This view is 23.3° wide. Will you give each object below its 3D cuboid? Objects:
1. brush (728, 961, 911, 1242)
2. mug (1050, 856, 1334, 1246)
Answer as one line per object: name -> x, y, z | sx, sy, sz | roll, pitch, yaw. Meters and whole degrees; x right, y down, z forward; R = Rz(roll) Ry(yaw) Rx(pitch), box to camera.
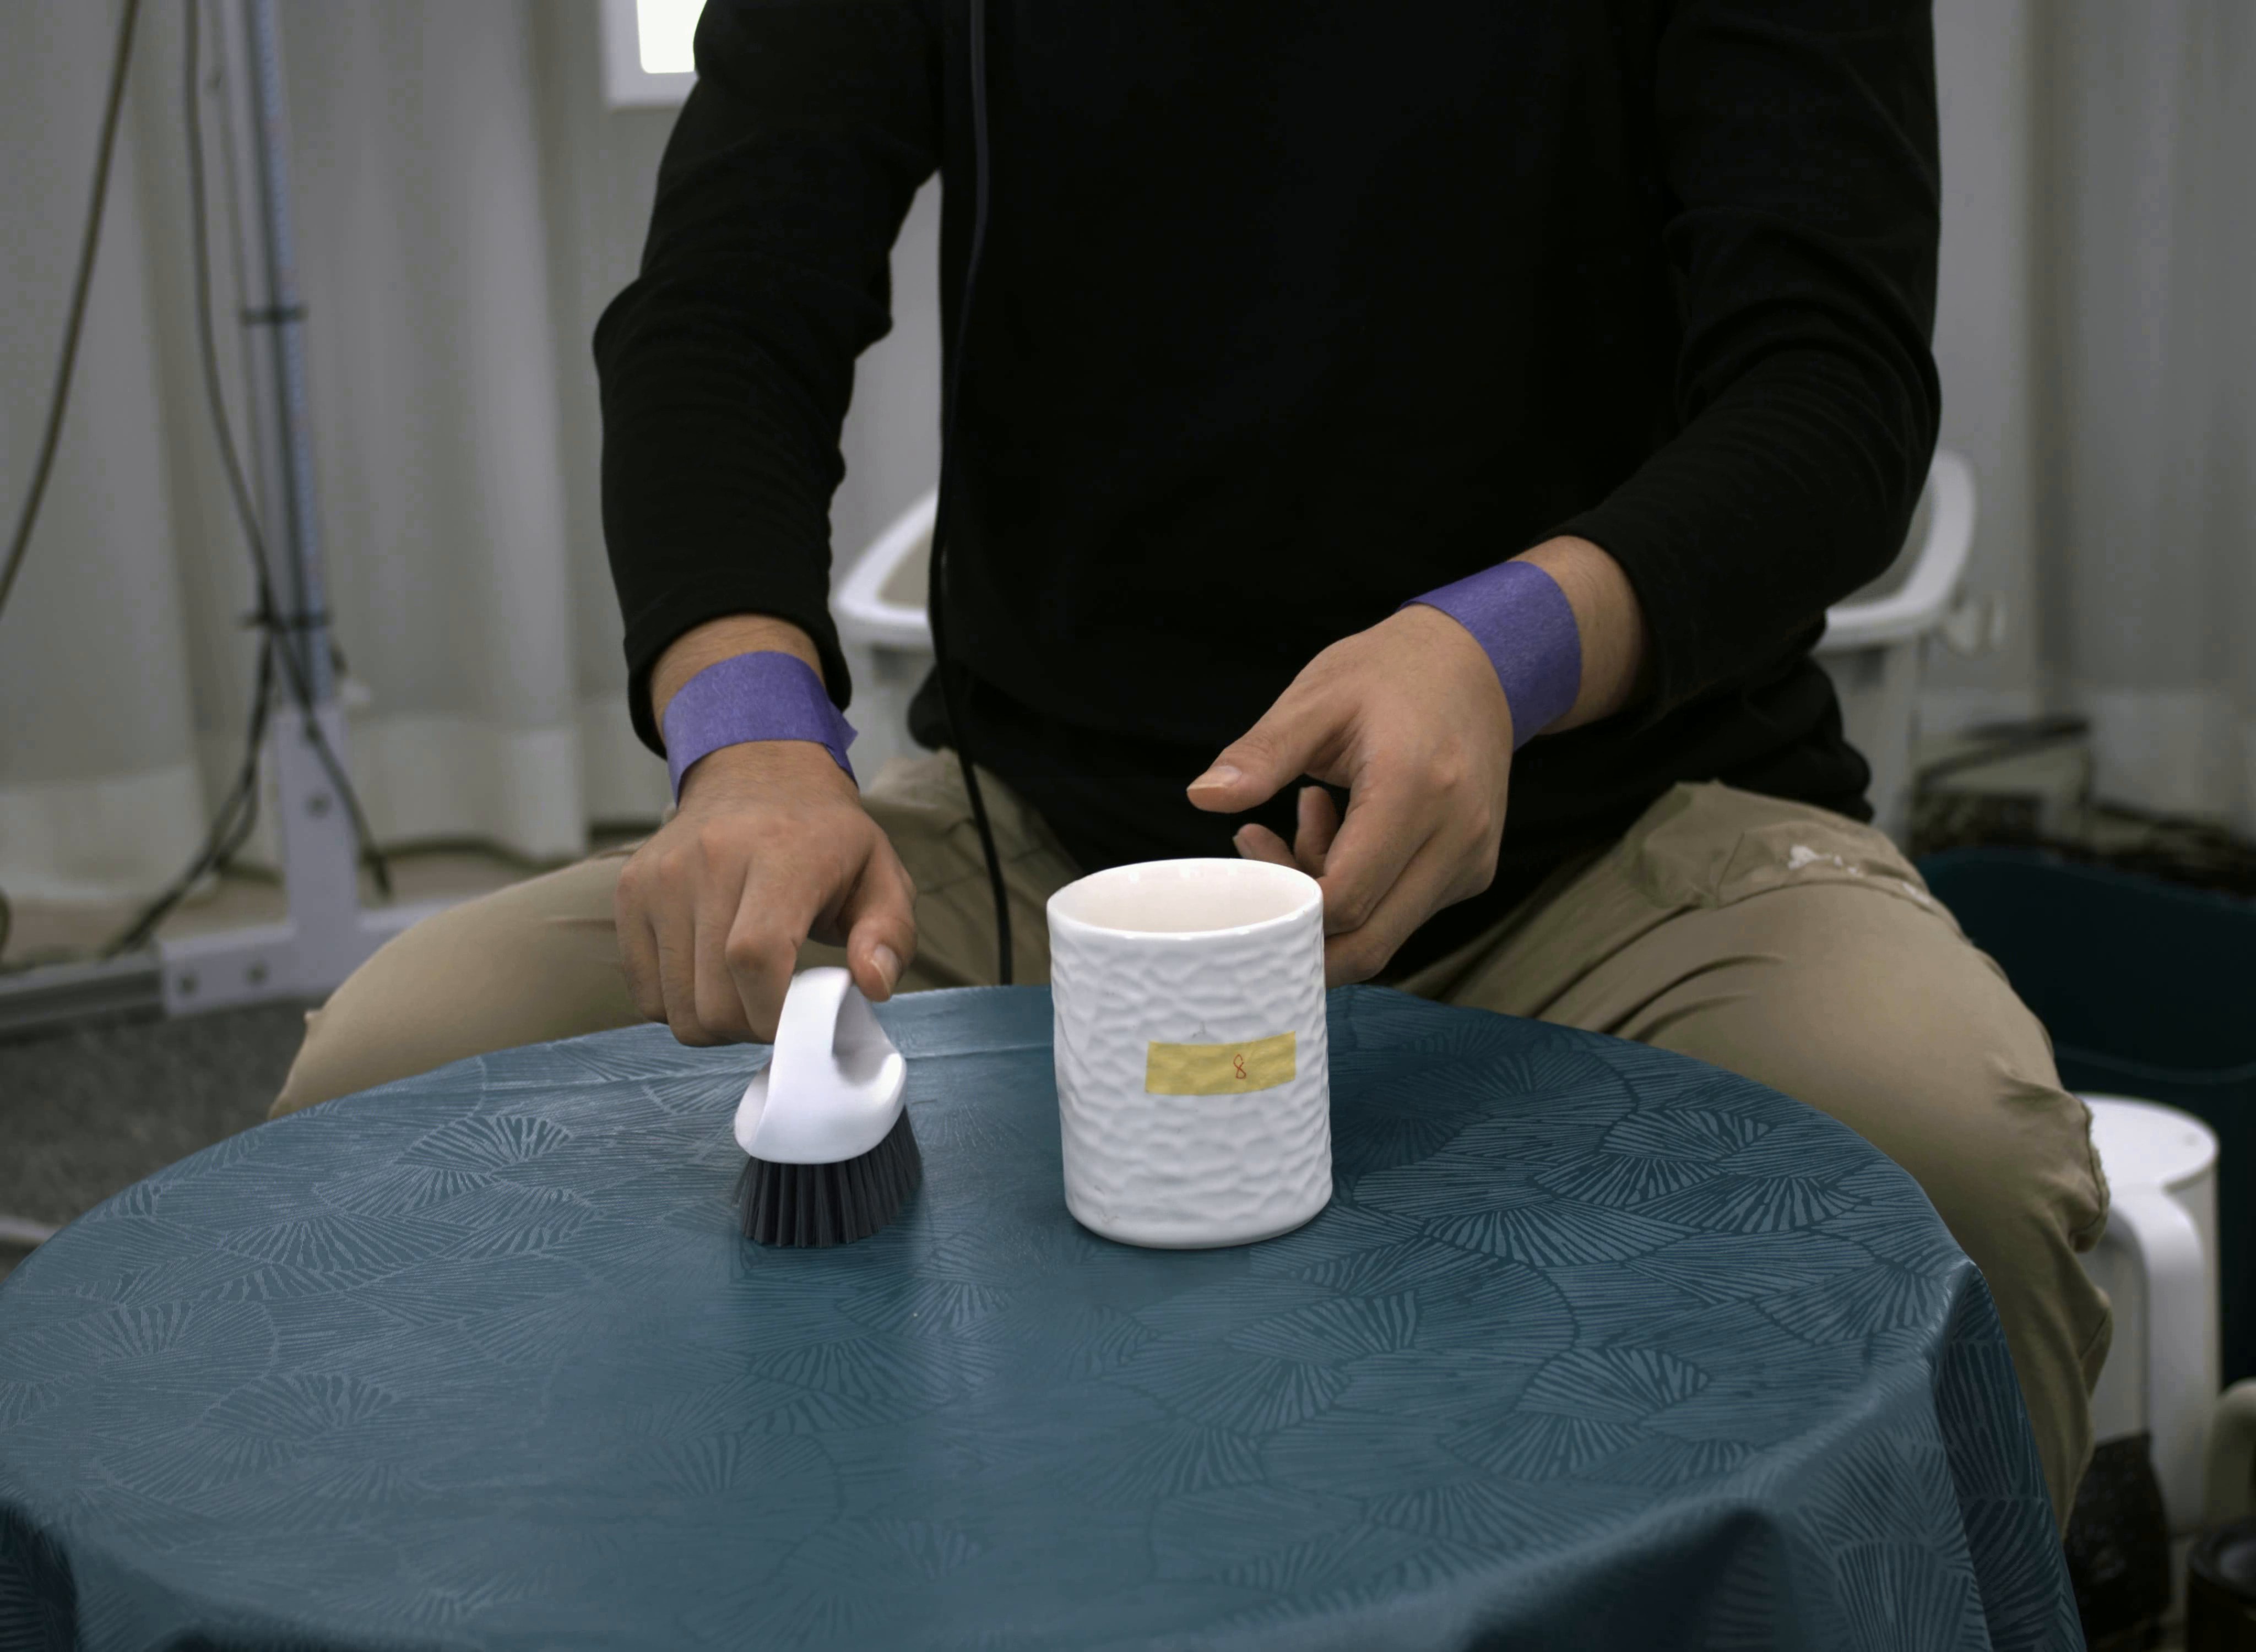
brush -> -0.097, 0.081, 1.717 | 0.050, 0.072, 0.100 | 1, 16, 8
mug -> 0.023, 0.065, 1.699 | 0.085, 0.101, 0.119 | -1, 14, 8
